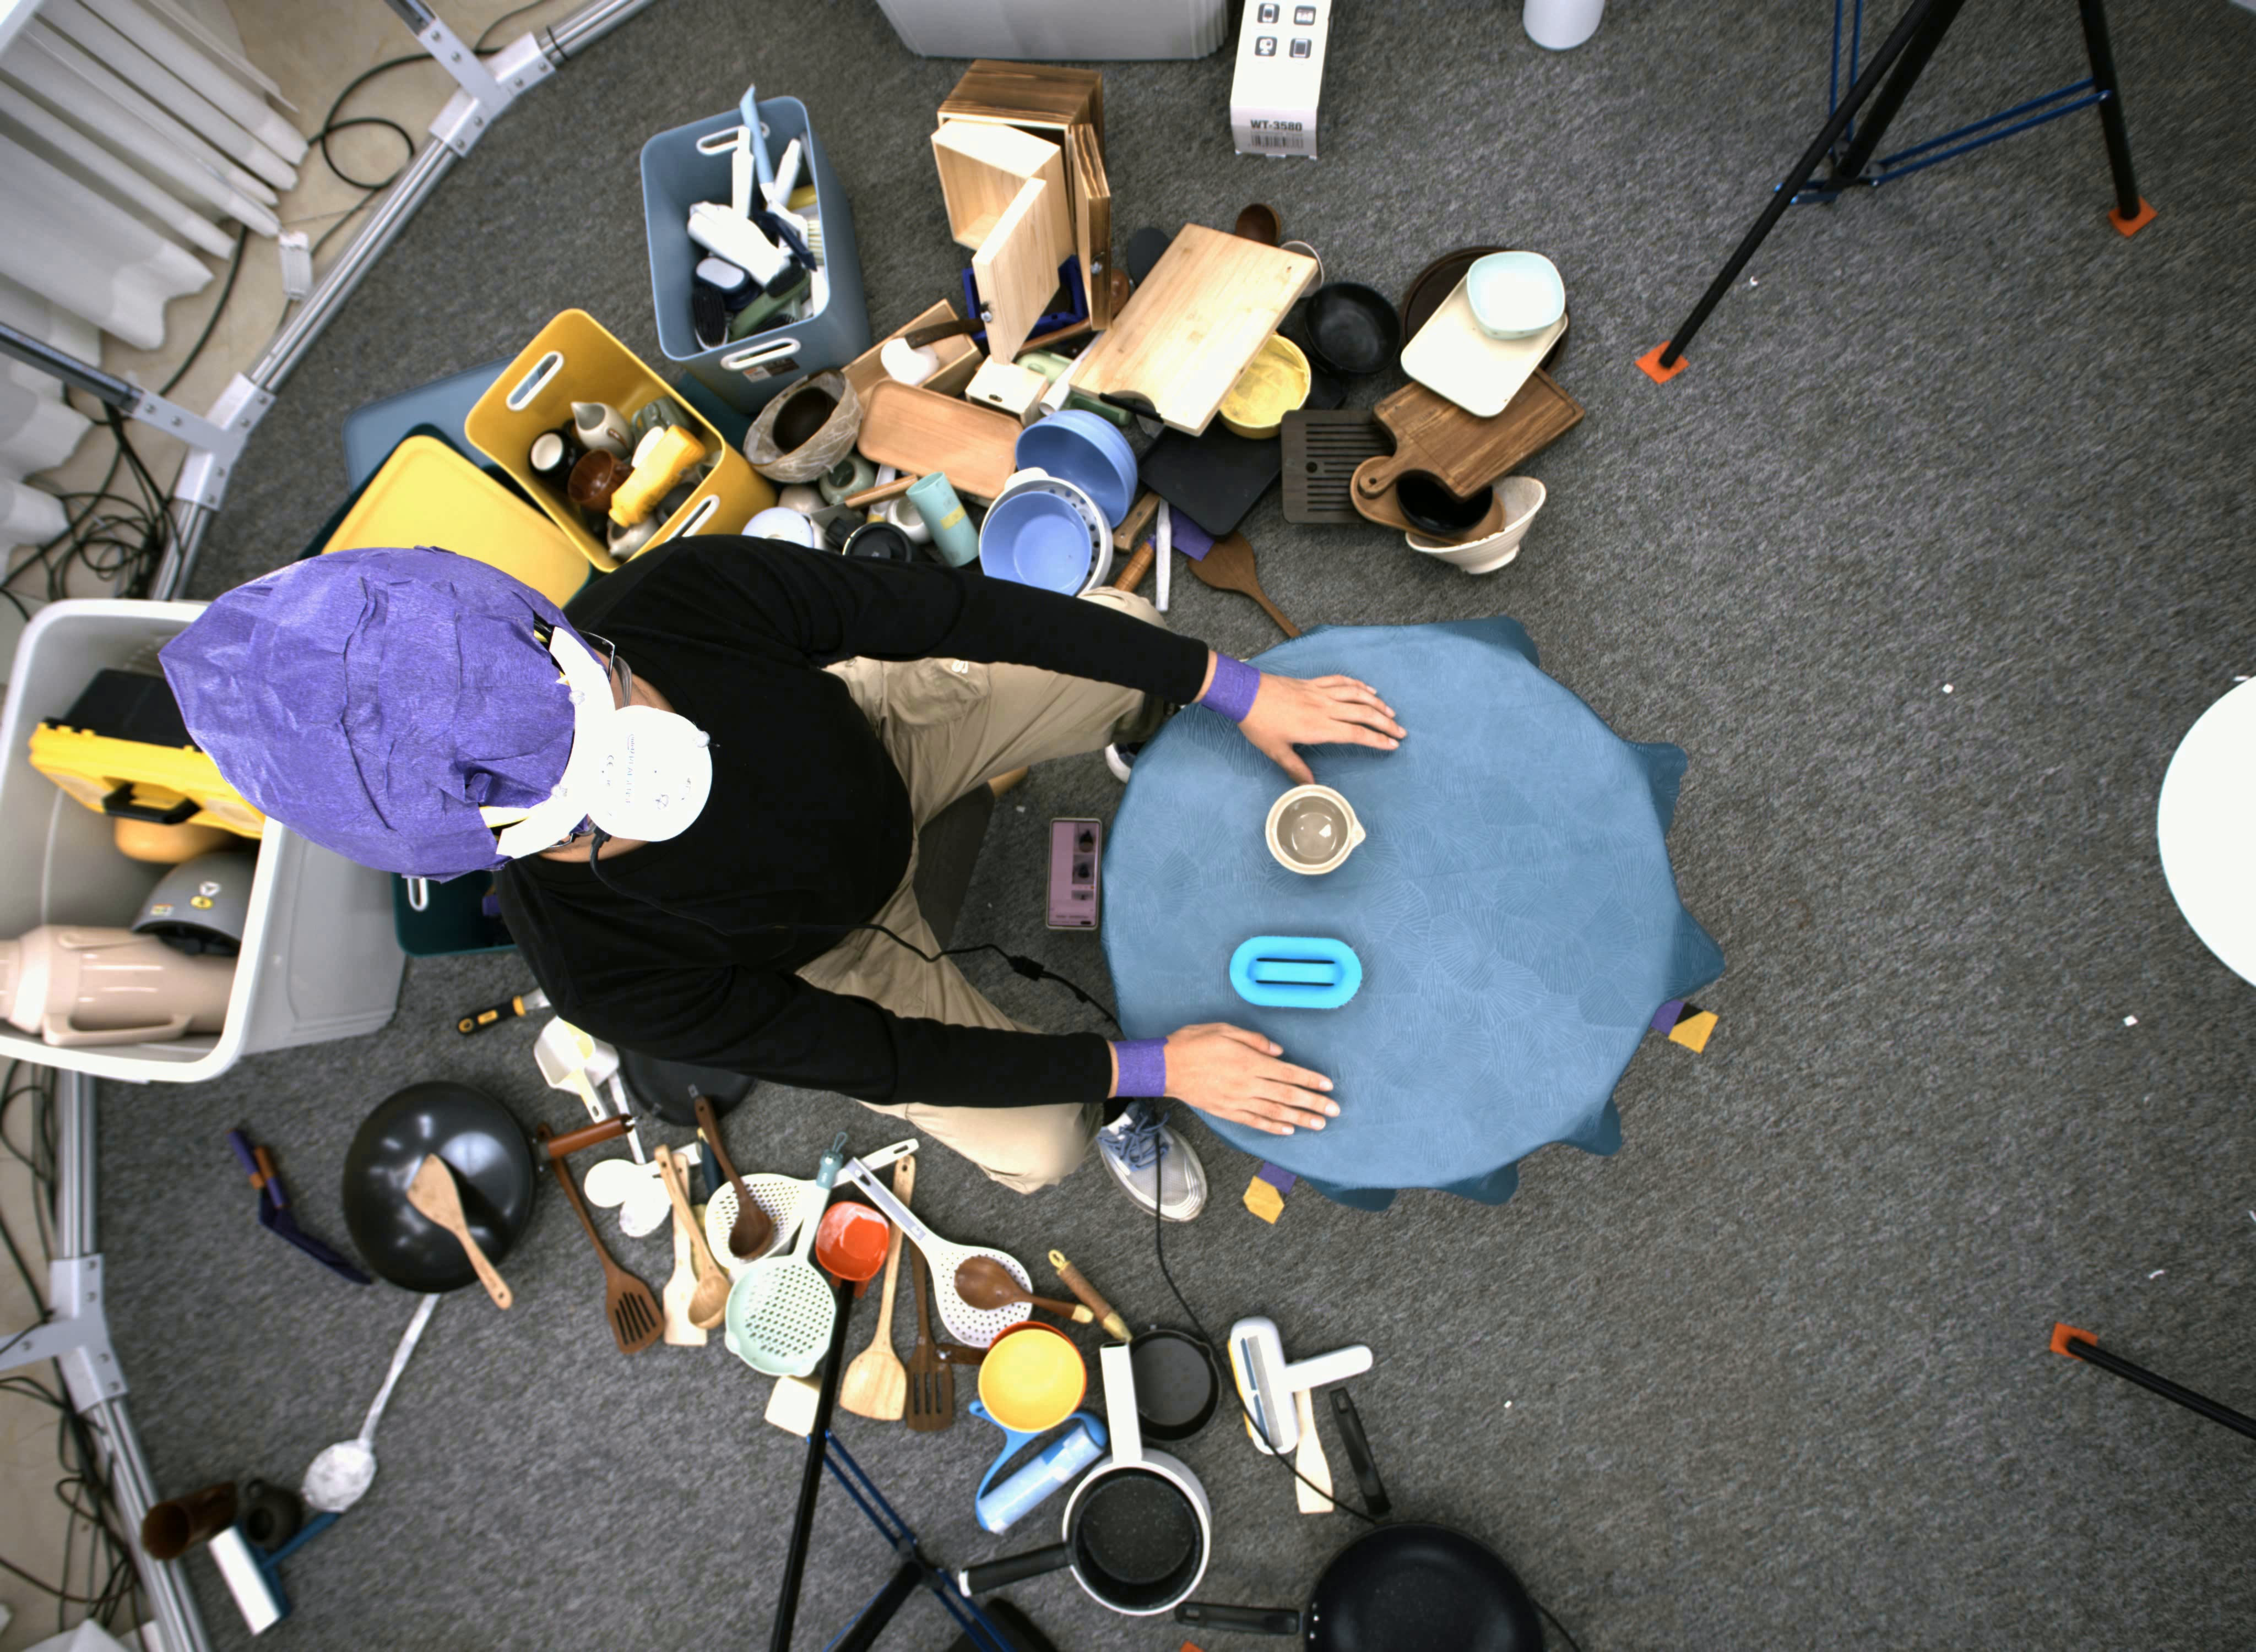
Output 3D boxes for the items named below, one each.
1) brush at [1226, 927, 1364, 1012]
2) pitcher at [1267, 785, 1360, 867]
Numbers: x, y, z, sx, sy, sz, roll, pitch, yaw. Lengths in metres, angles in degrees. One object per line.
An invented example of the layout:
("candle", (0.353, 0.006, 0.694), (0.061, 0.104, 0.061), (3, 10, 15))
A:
("brush", (0.172, 0.148, 1.439), (0.142, 0.063, 0.084), (3, 90, 12))
("pitcher", (0.193, 0.003, 1.439), (0.096, 0.071, 0.083), (13, 87, 9))
